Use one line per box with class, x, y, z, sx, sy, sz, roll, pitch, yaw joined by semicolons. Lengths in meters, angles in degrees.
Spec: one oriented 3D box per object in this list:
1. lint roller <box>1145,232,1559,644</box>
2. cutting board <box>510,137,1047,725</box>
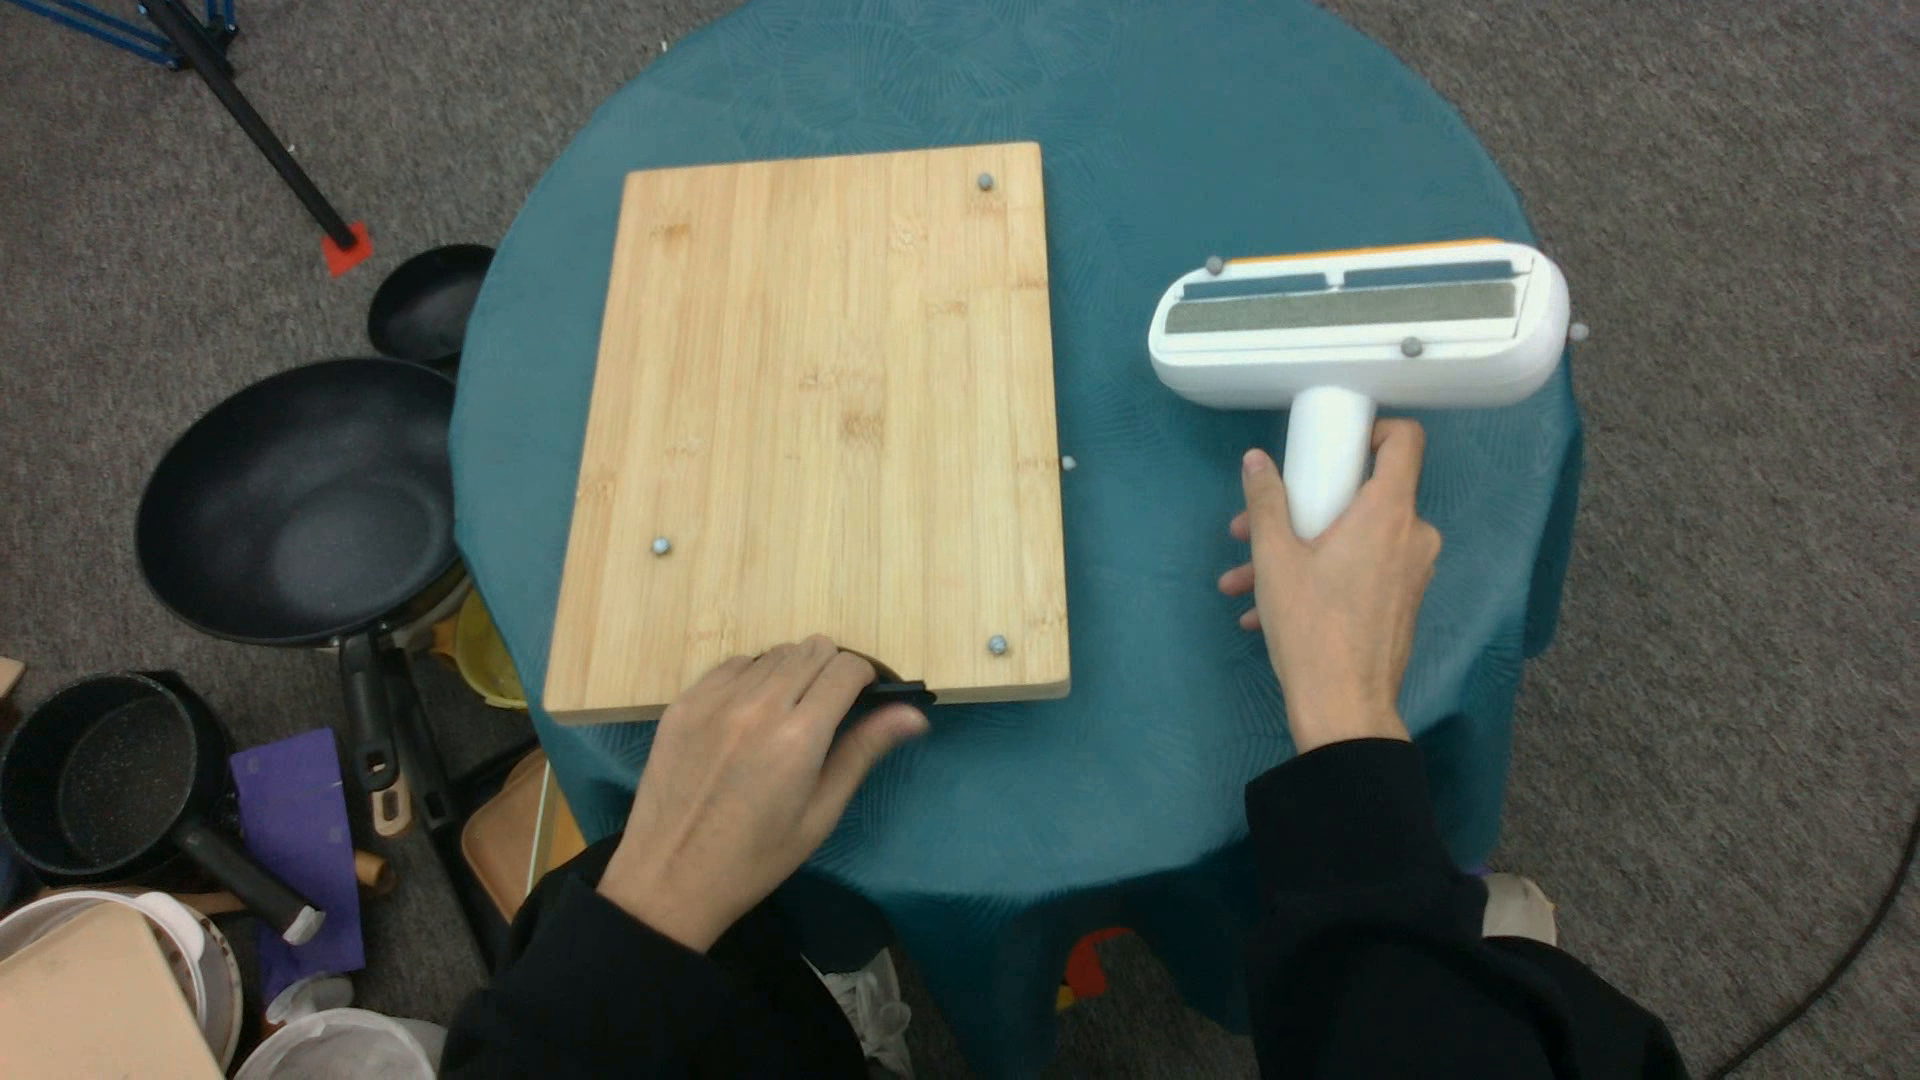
lint roller;0.162;-0.049;0.634;0.192;0.074;0.193;10;78;35
cutting board;-0.084;-0.073;0.707;0.250;0.023;0.350;-4;59;3
